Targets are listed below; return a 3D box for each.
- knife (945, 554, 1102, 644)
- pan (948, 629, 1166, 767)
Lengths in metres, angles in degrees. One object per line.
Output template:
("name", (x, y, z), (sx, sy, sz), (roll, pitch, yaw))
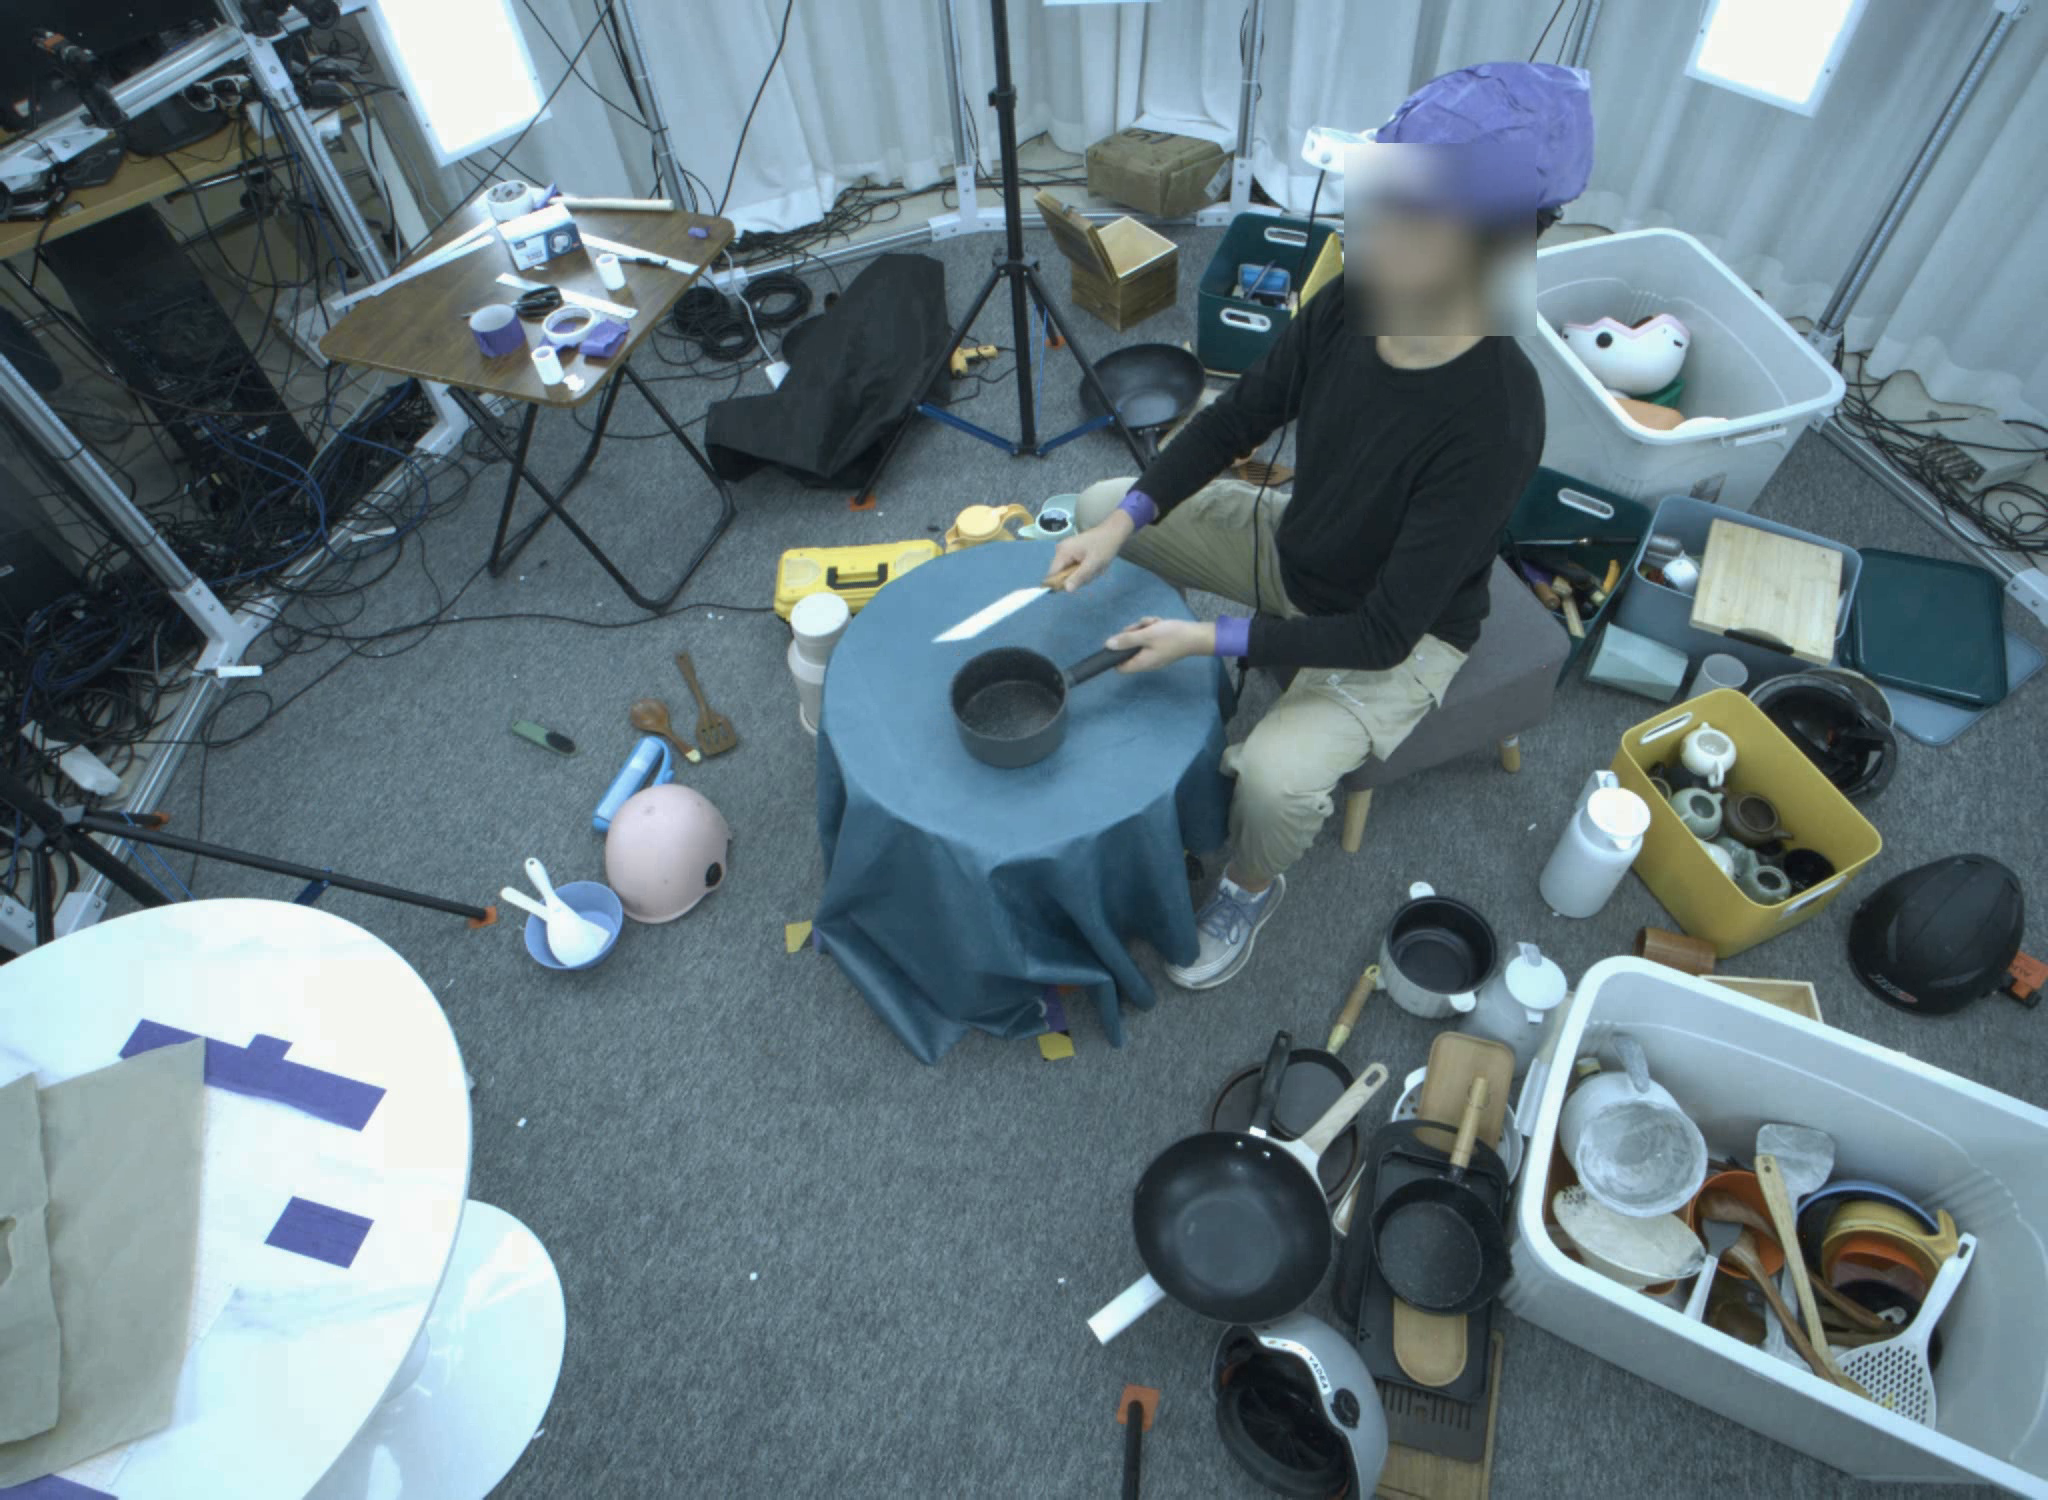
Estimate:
("knife", (-0.003, -0.223, 1.812), (0.091, 0.021, 0.309), (-1, 27, 44))
("pan", (0.052, -0.090, 1.793), (0.331, 0.087, 0.169), (-21, 56, -10))
